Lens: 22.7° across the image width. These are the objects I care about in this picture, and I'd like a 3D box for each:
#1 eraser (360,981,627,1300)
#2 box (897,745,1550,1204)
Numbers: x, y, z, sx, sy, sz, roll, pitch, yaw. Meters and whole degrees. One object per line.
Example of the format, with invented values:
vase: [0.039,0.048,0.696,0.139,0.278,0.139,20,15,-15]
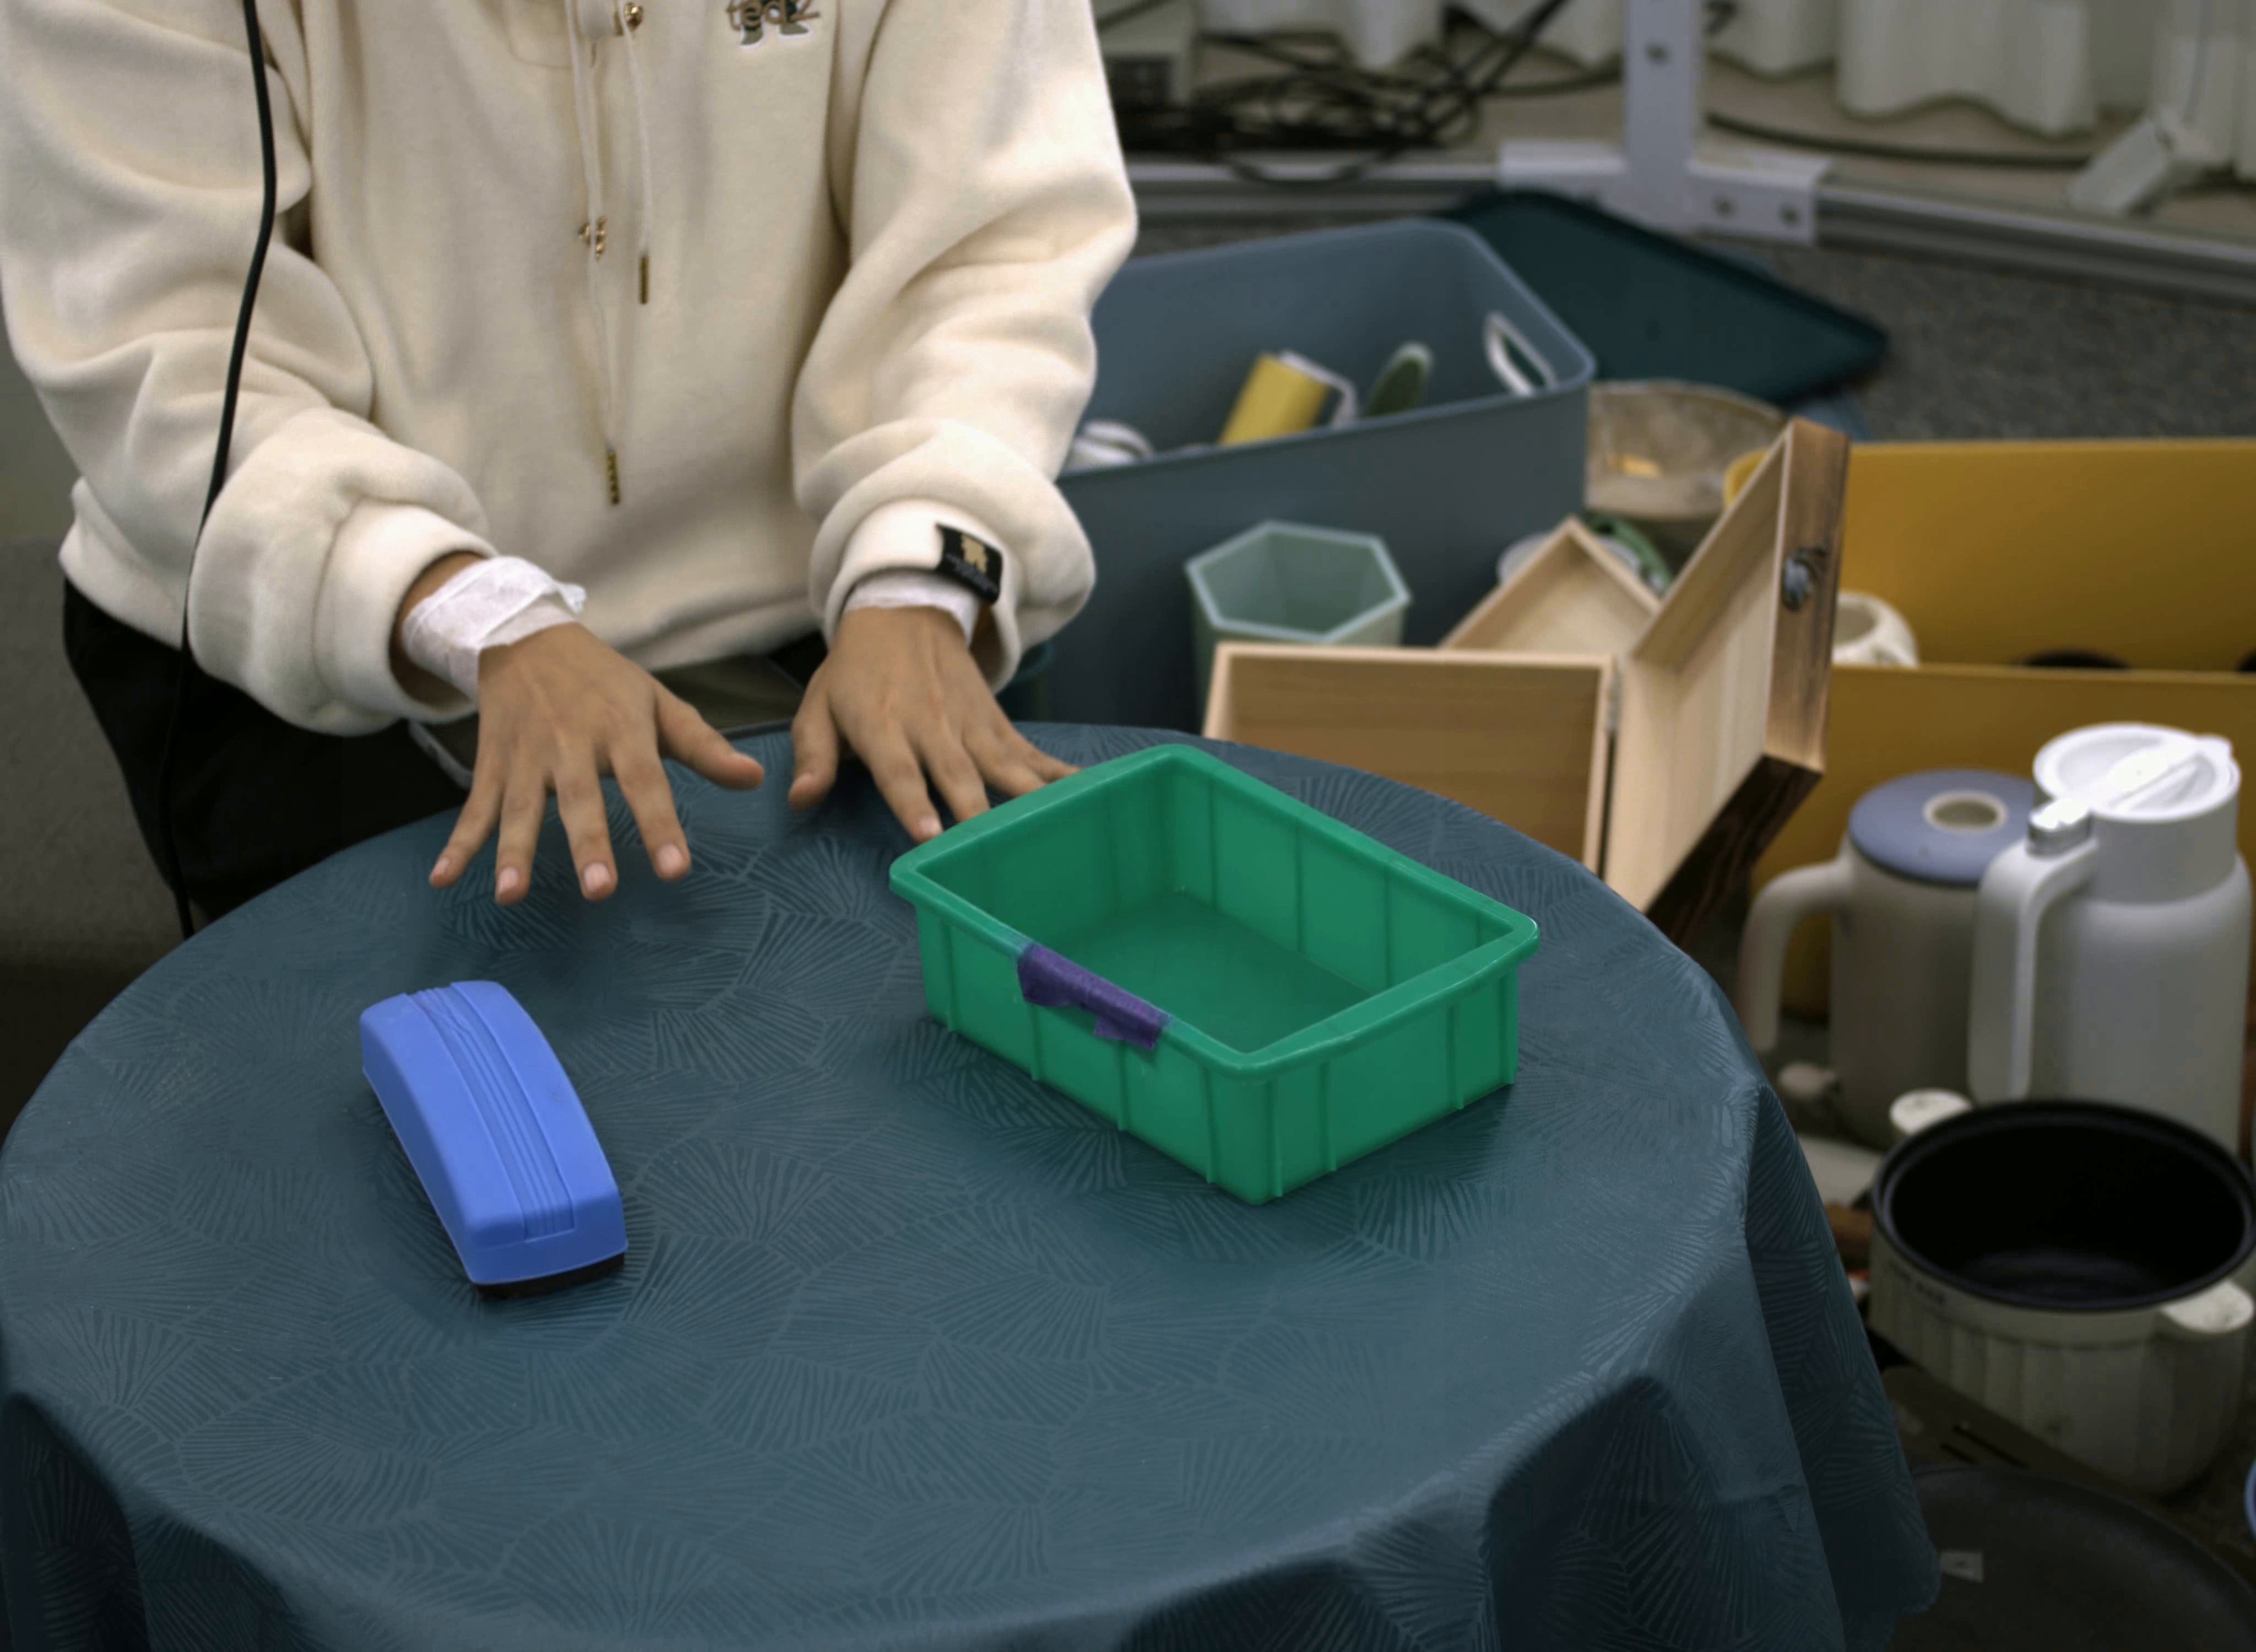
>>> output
eraser: [-0.214,0.099,1.877,0.054,0.047,0.163,-12,29,-17]
box: [0.033,0.051,1.929,0.140,0.064,0.210,-26,35,-33]
